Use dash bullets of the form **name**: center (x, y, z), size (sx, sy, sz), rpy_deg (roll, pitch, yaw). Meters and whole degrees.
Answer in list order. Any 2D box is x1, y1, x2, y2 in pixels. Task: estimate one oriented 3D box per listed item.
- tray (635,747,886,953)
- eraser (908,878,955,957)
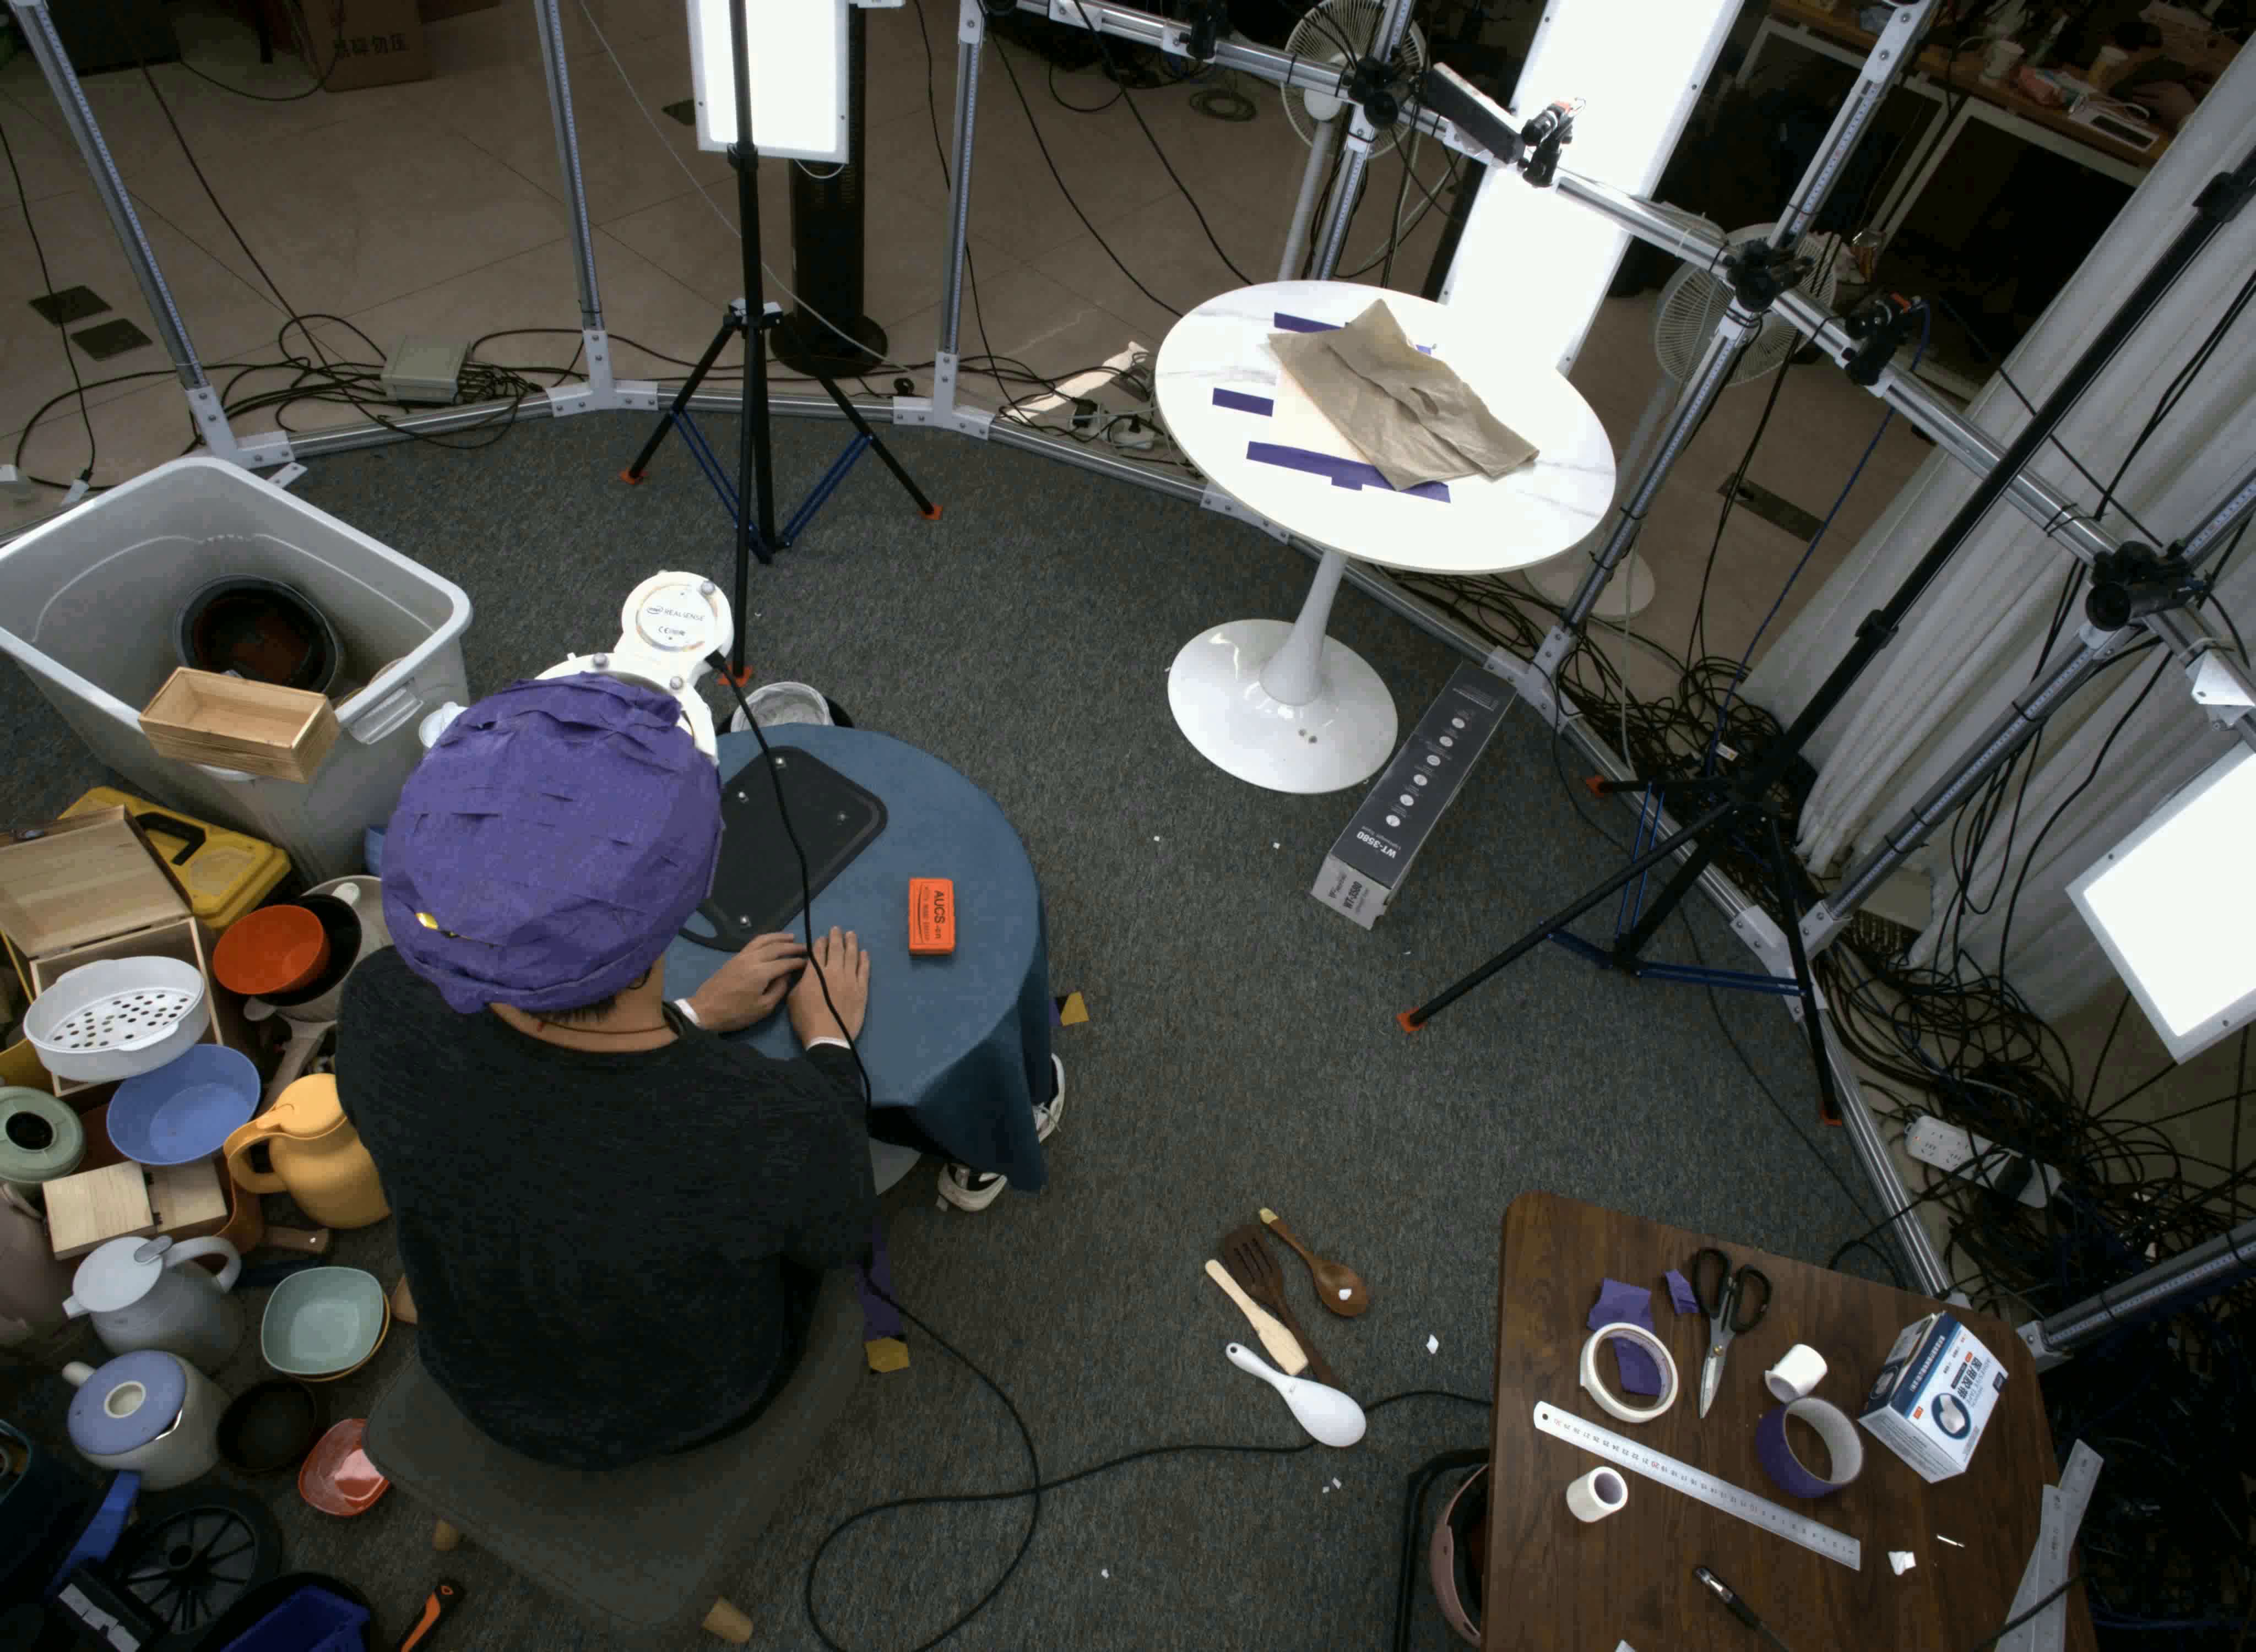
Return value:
- **tray**: center (-0.478, 0.026, 1.680), size (0.207, 0.010, 0.324), rpy_deg (32, 53, 10)
- **eraser**: center (-0.251, 0.114, 1.663), size (0.059, 0.023, 0.106), rpy_deg (1, 53, -11)
